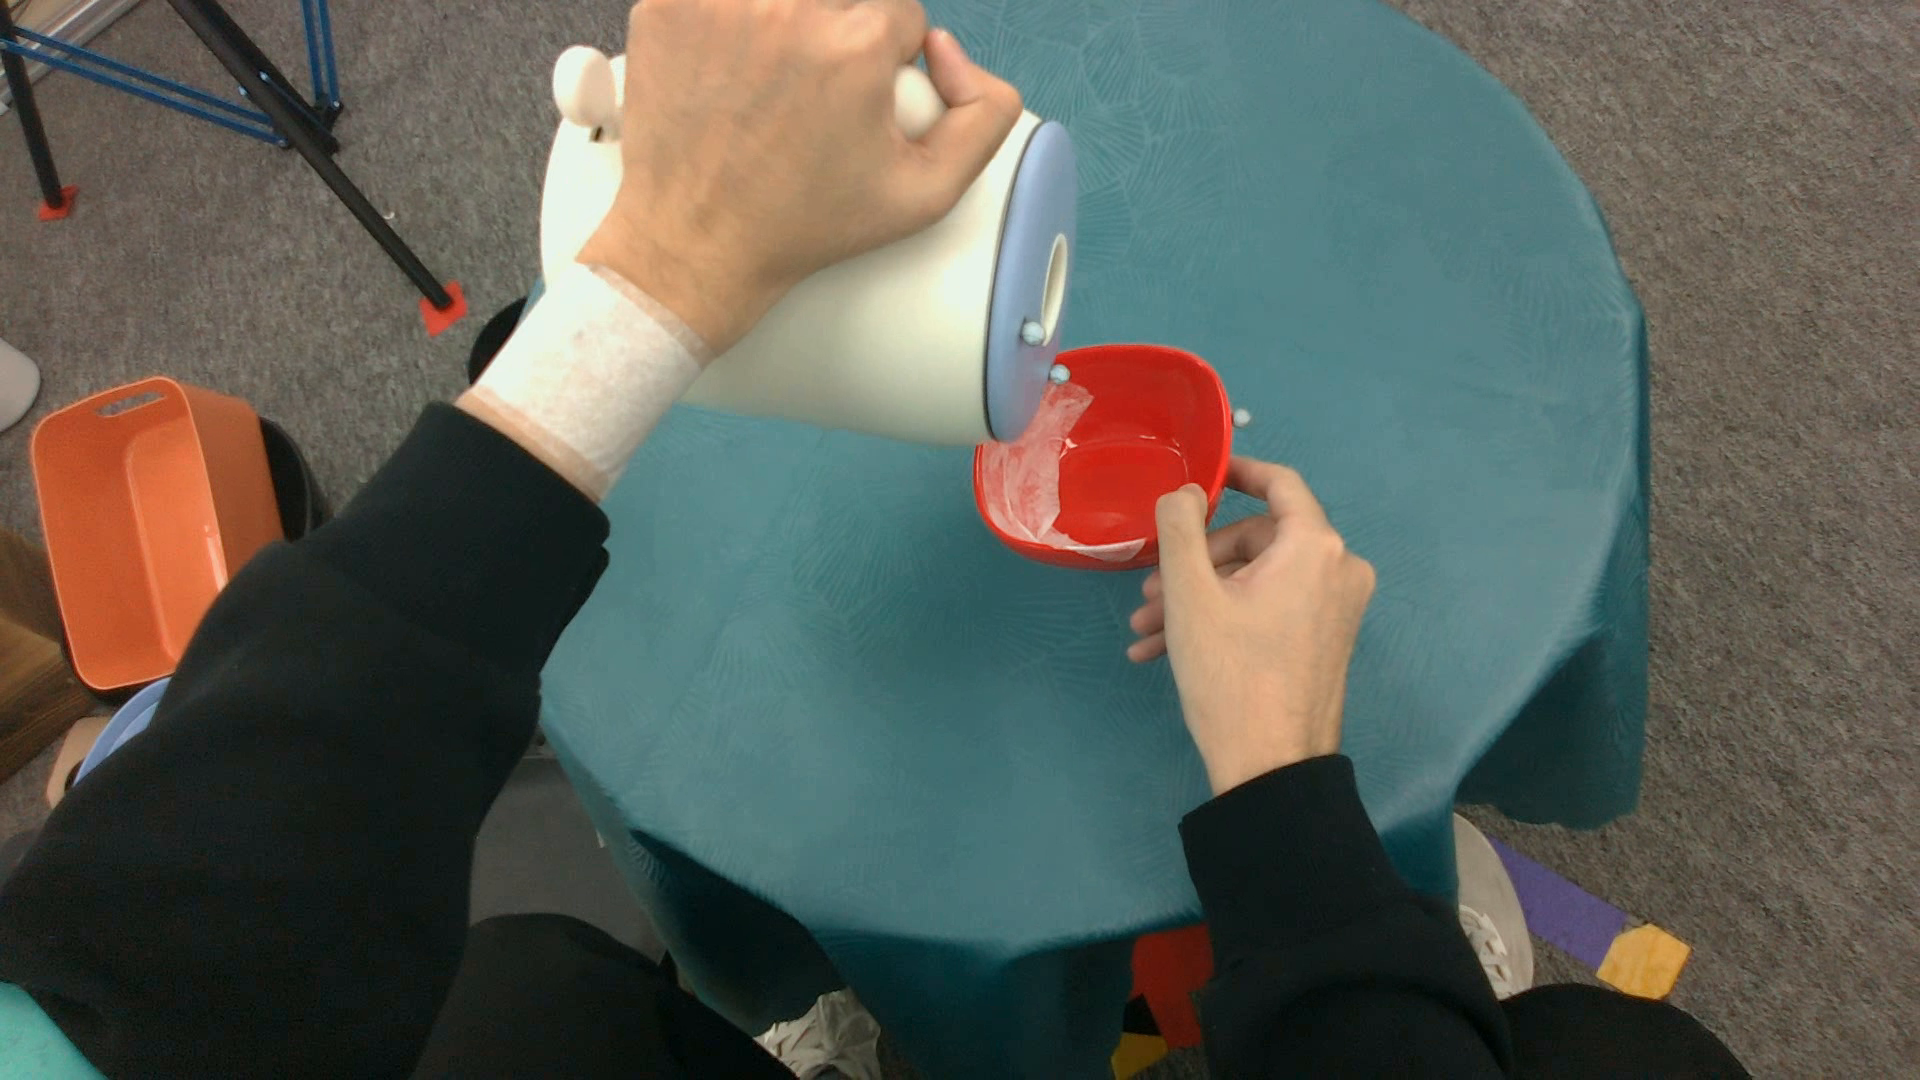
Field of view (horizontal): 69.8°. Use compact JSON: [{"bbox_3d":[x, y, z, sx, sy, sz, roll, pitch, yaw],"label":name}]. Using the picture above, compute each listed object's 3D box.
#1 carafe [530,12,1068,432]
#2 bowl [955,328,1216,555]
[{"bbox_3d":[-0.059,-0.123,0.503,0.182,0.190,0.132,9,72,11],"label":"carafe"},{"bbox_3d":[0.057,-0.035,0.597,0.119,0.051,0.119,-7,53,10],"label":"bowl"}]
